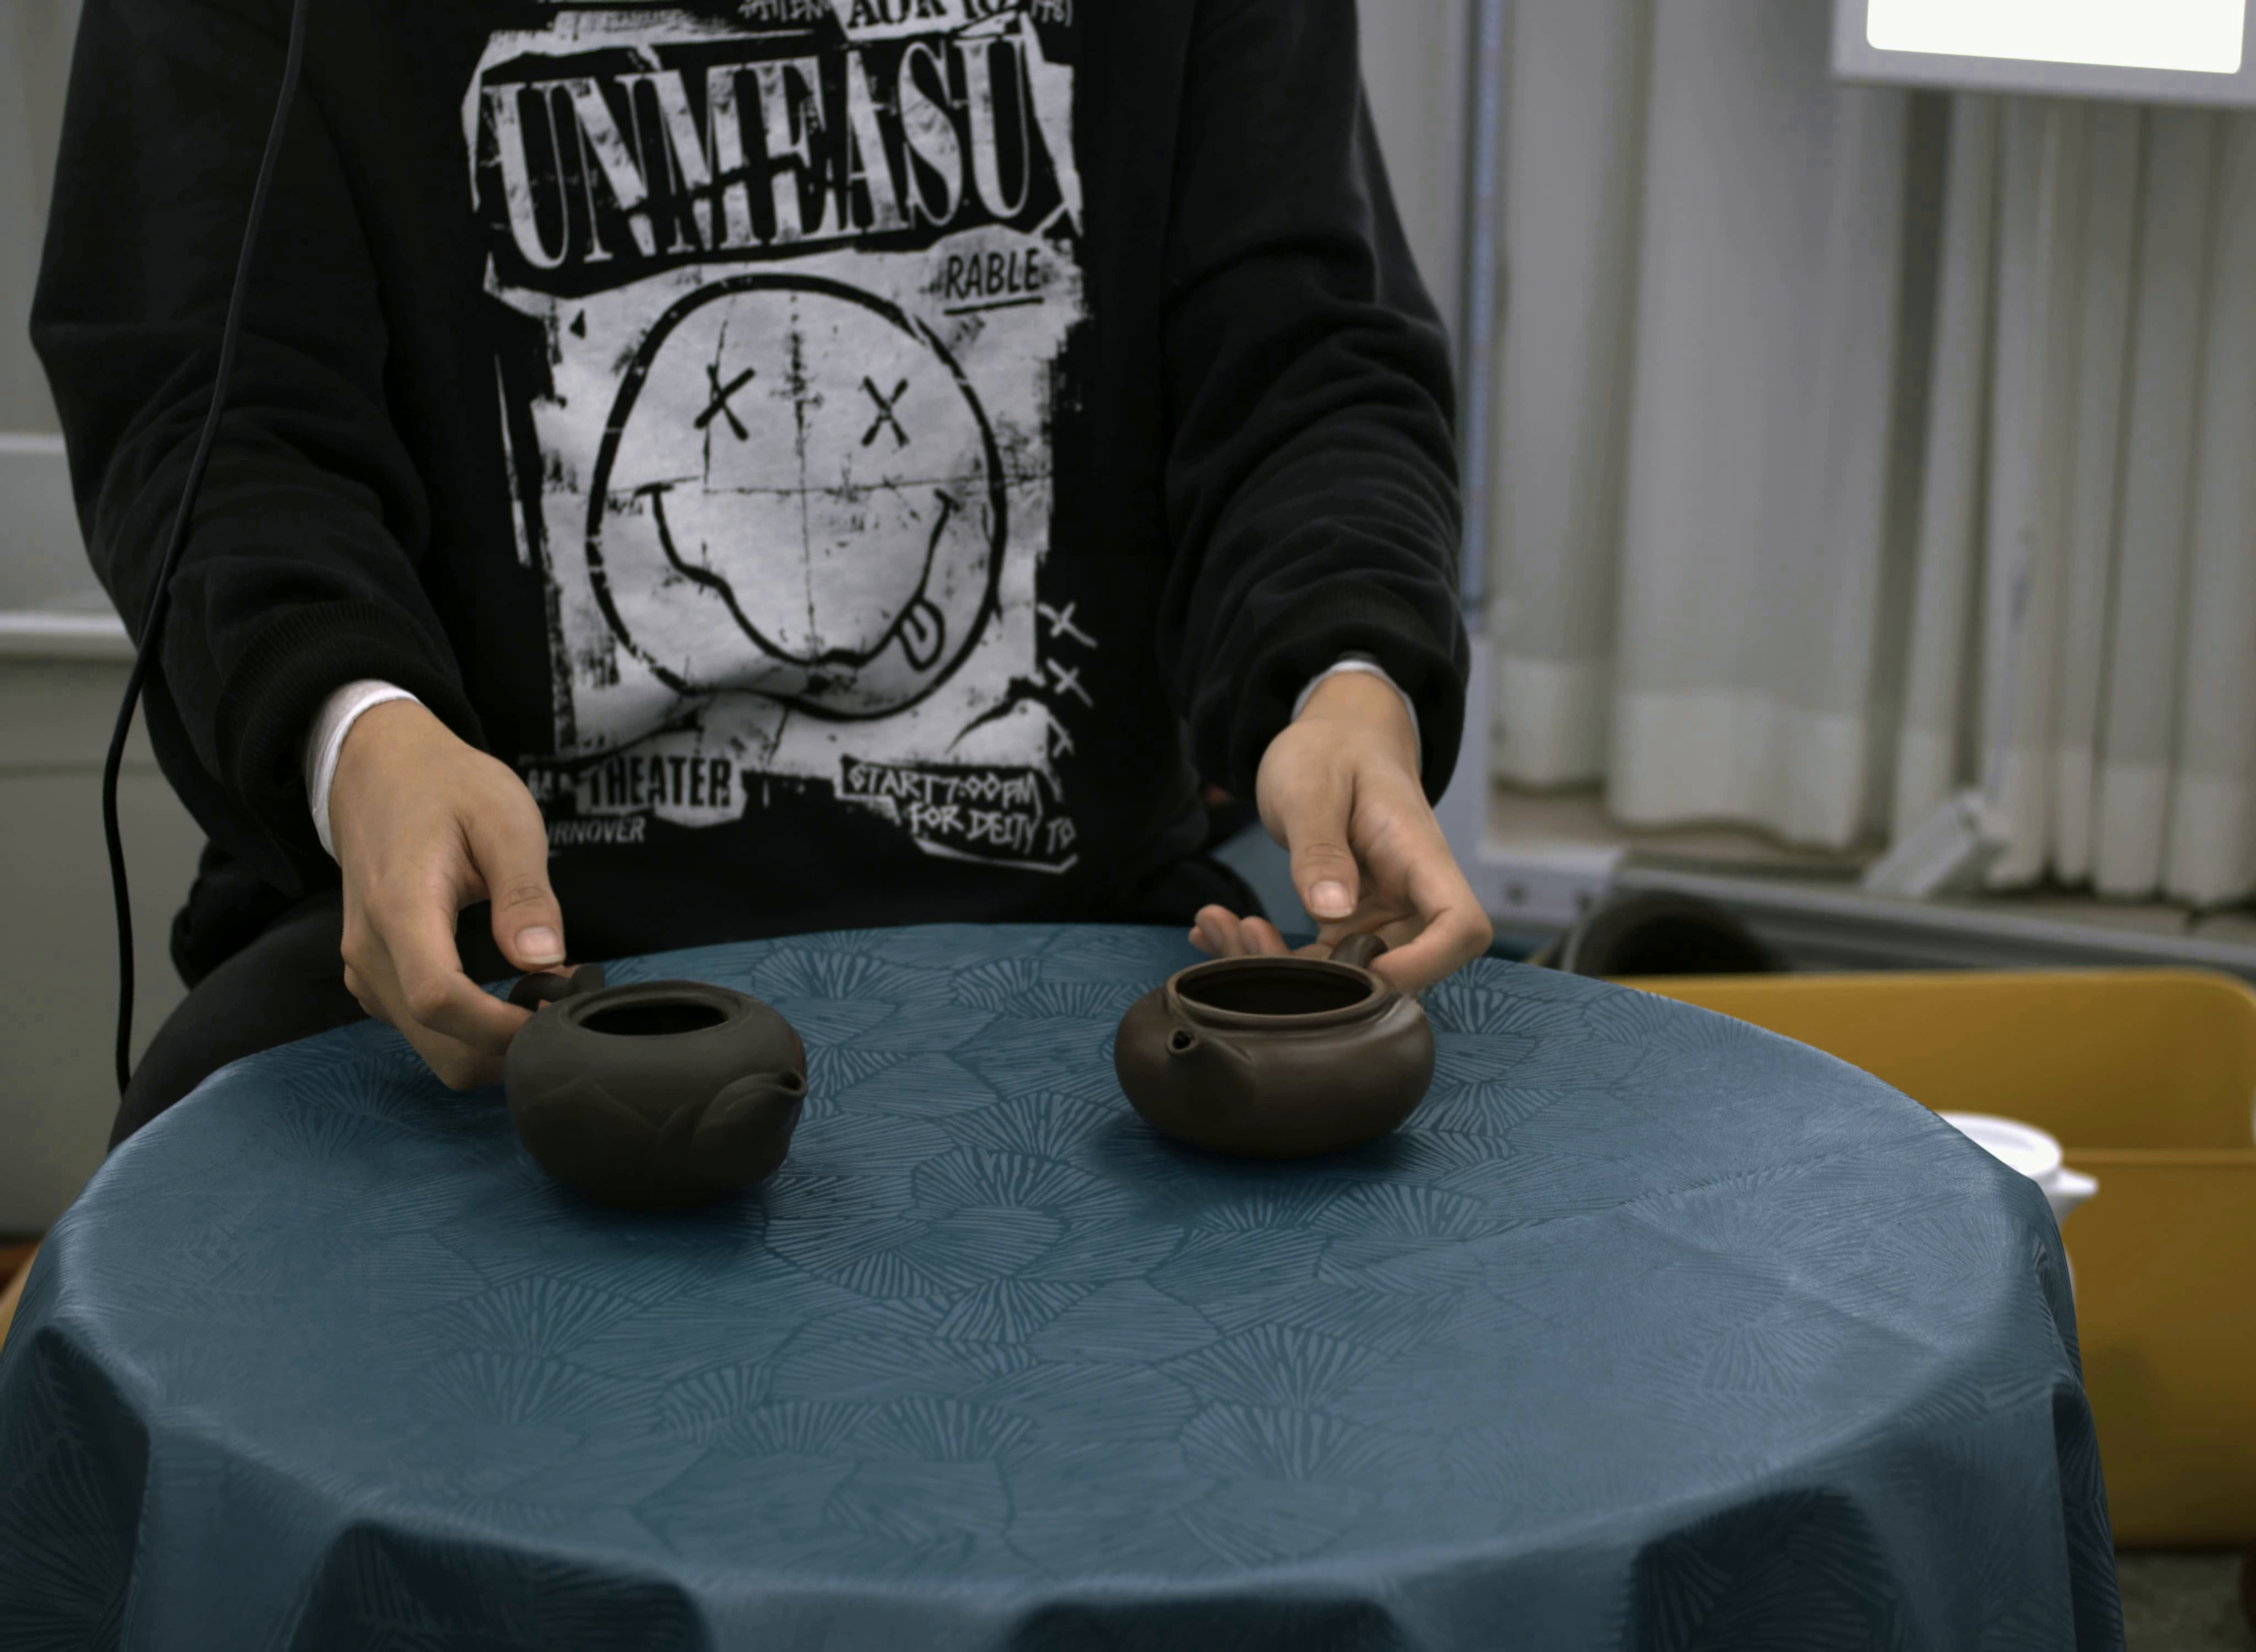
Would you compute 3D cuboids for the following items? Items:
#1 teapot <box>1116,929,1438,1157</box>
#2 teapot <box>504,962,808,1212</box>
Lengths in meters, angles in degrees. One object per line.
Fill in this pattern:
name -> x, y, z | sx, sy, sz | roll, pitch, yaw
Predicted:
teapot -> 0.049, 0.069, 1.676 | 0.101, 0.054, 0.153 | 8, 18, 19
teapot -> -0.146, 0.080, 1.615 | 0.093, 0.065, 0.152 | -10, 19, -38
